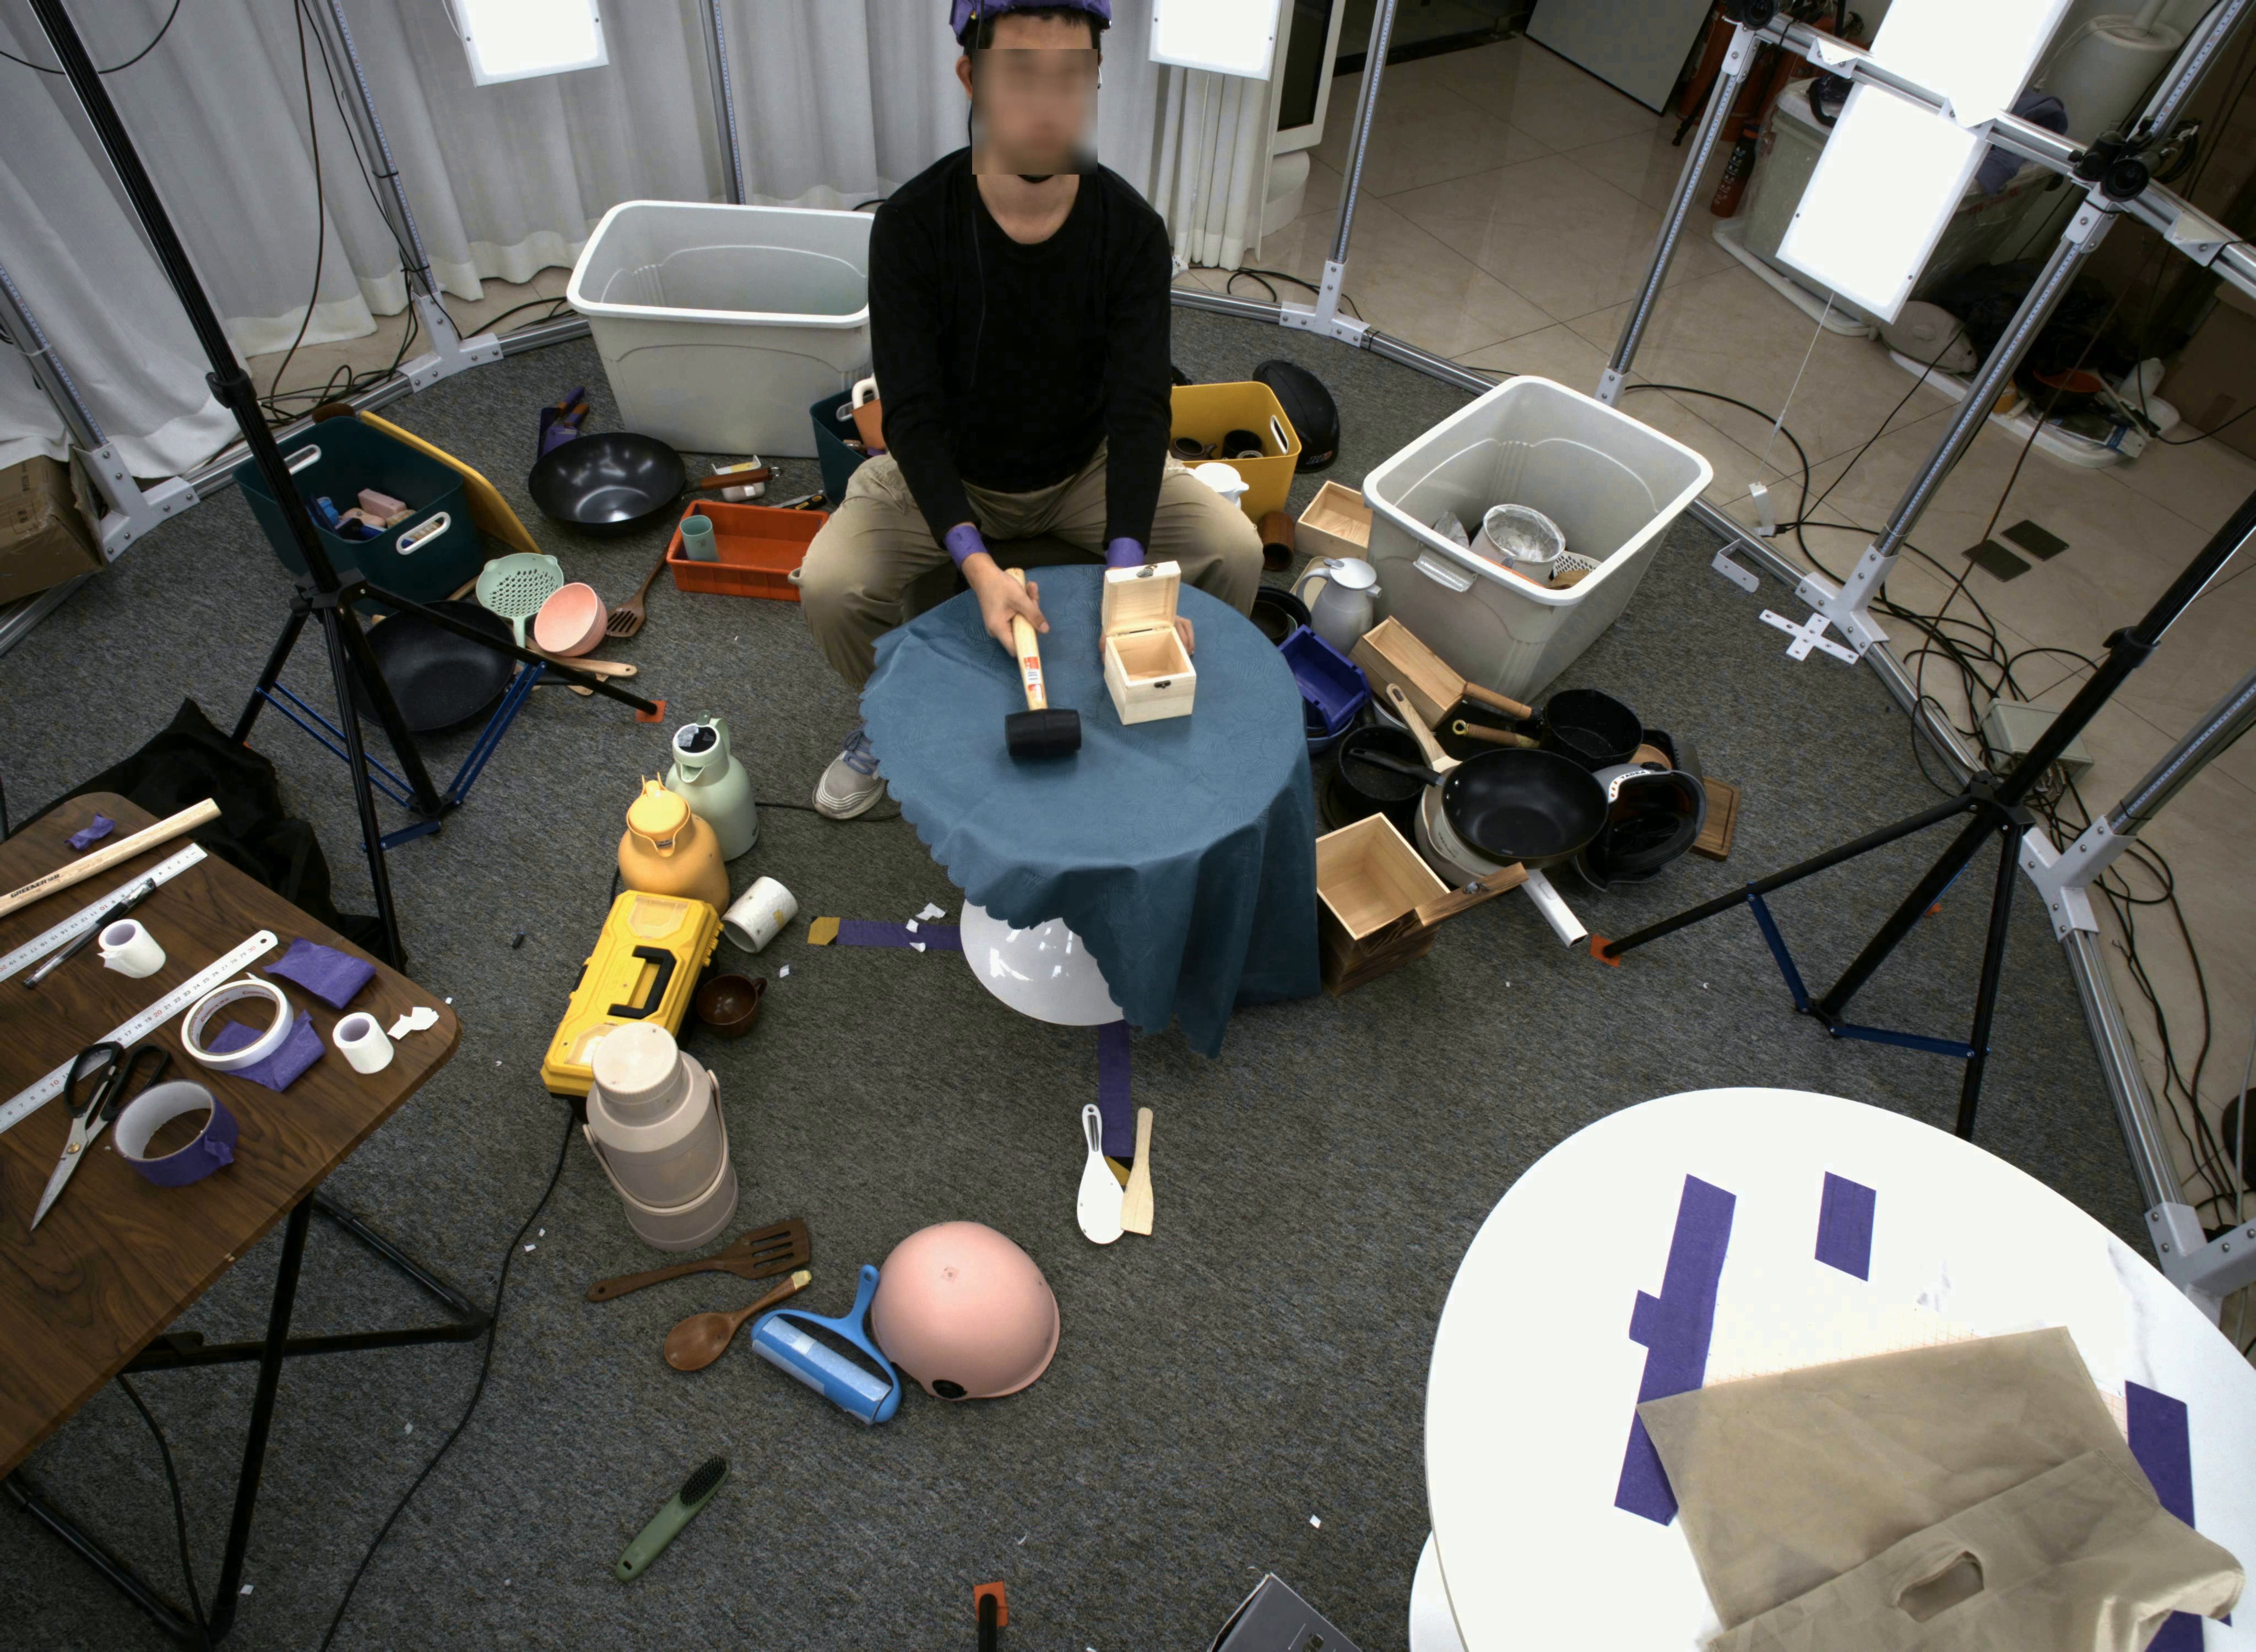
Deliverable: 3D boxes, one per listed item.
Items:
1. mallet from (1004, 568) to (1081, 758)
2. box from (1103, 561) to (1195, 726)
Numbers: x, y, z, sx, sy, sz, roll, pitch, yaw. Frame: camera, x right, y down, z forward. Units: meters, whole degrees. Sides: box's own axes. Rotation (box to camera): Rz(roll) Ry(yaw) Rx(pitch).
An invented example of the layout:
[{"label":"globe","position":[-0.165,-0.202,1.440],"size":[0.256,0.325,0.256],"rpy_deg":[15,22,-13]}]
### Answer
[{"label":"mallet","position":[-0.136,-0.241,1.804],"size":[0.101,0.063,0.347],"rpy_deg":[-3,56,-11]},{"label":"box","position":[0.030,-0.252,1.773],"size":[0.102,0.180,0.137],"rpy_deg":[-9,48,-13]}]
